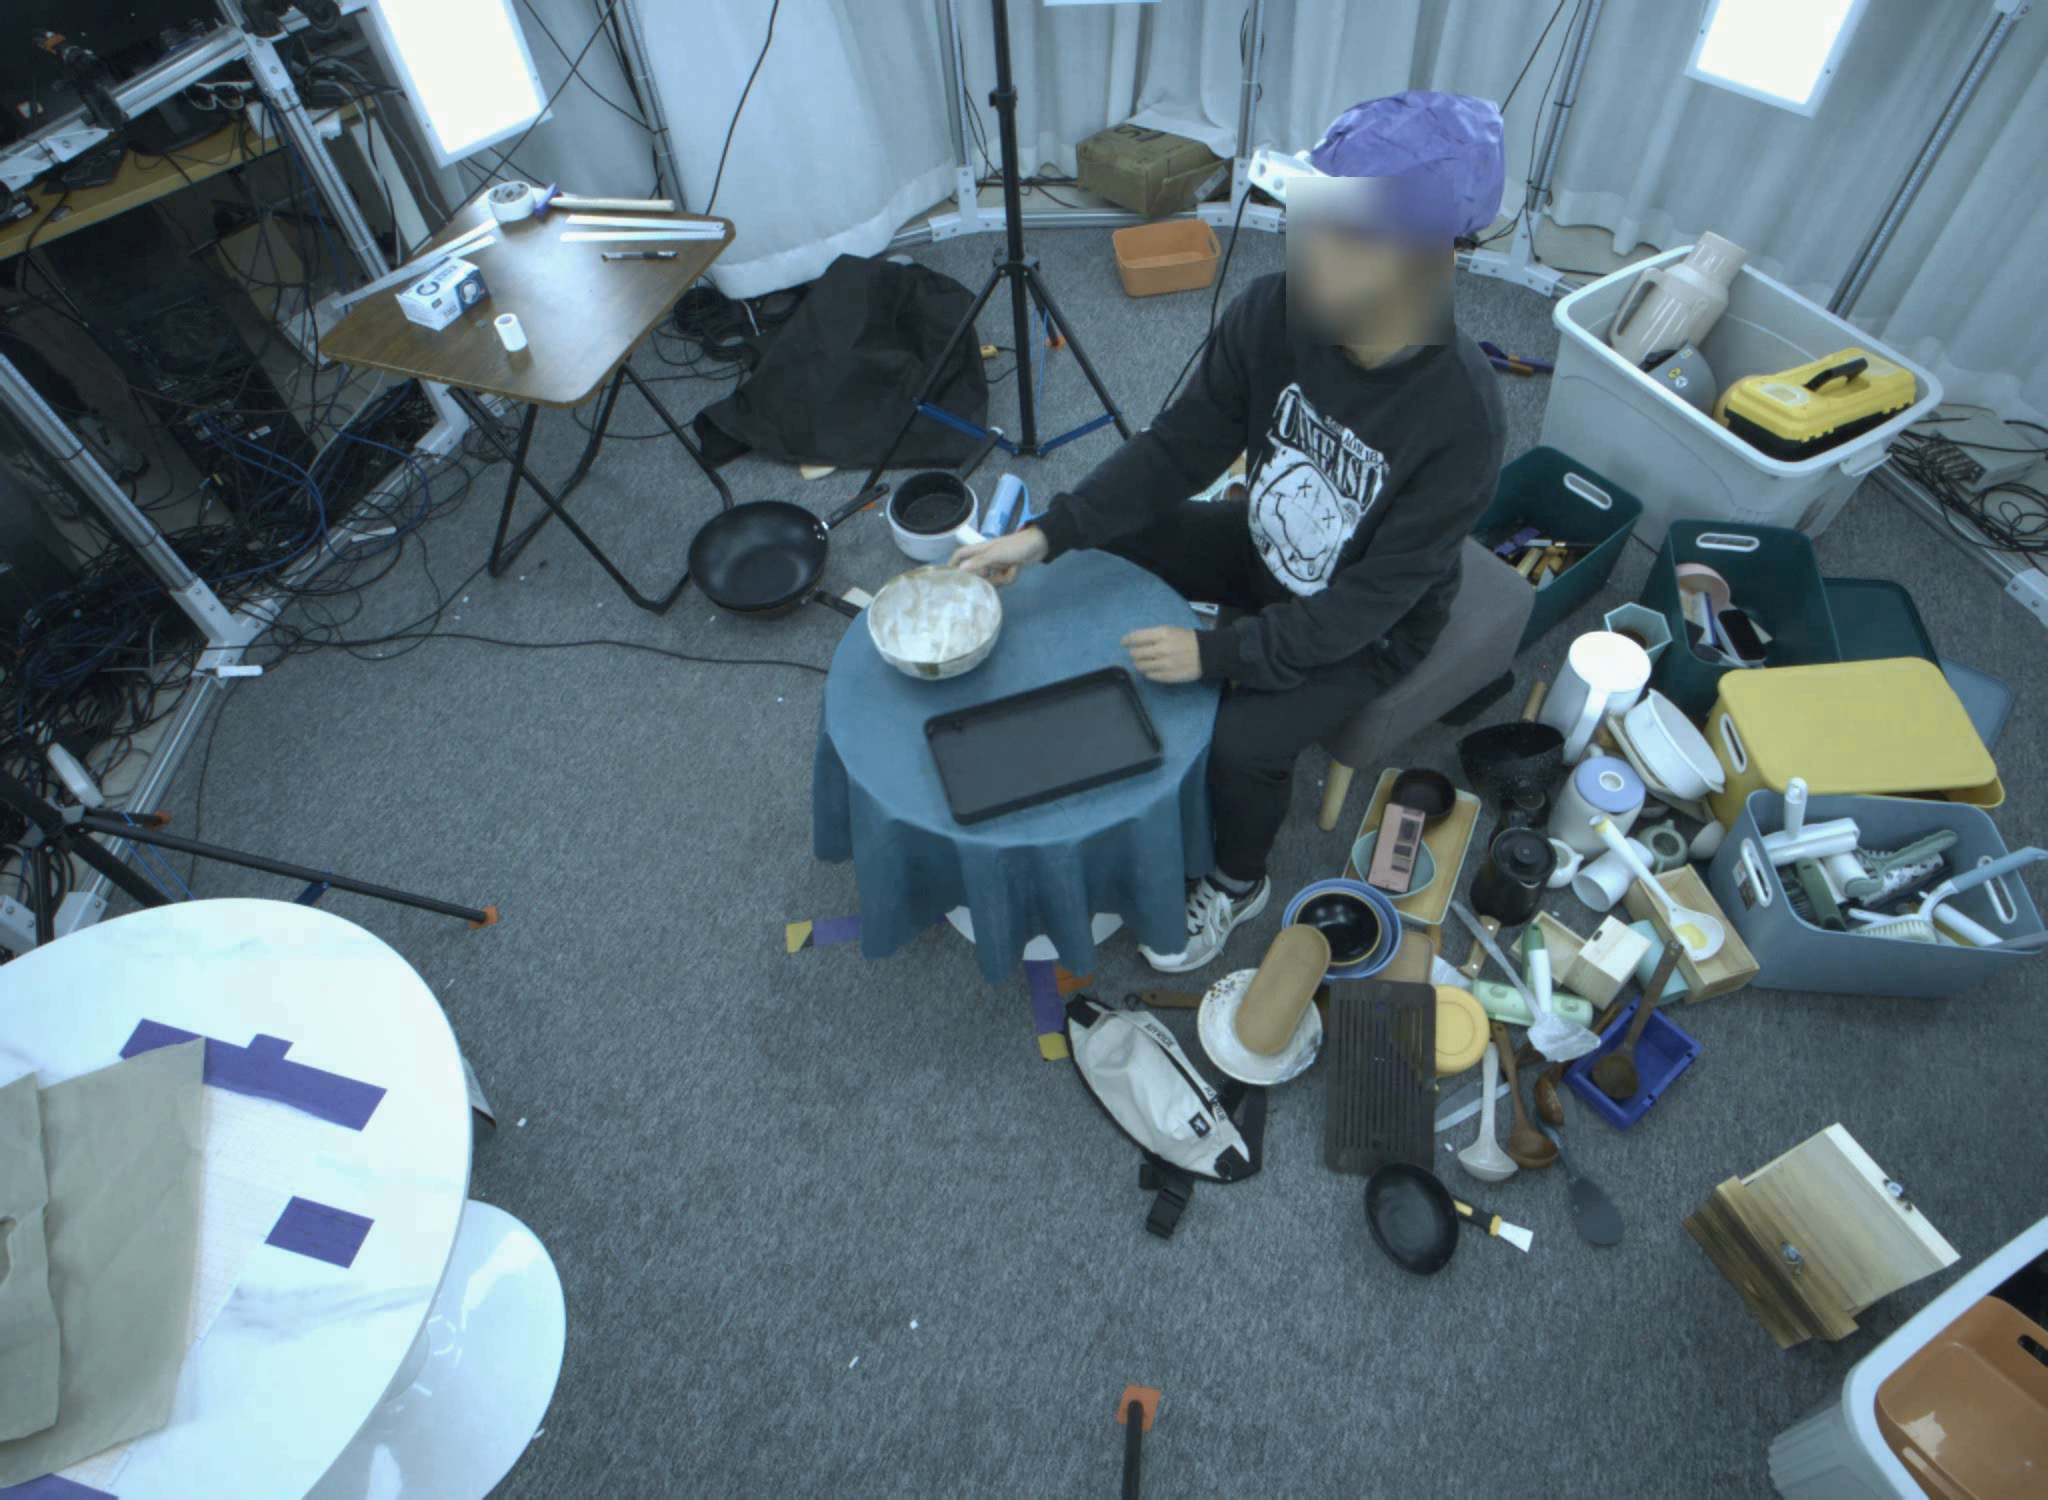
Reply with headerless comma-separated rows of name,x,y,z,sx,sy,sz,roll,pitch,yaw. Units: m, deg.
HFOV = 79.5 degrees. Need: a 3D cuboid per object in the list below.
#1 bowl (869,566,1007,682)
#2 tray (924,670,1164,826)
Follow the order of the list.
bowl,-0.125,-0.175,1.868,0.214,0.095,0.212,-1,54,2
tray,0.027,-0.006,1.777,0.320,0.037,0.181,-15,55,-10
